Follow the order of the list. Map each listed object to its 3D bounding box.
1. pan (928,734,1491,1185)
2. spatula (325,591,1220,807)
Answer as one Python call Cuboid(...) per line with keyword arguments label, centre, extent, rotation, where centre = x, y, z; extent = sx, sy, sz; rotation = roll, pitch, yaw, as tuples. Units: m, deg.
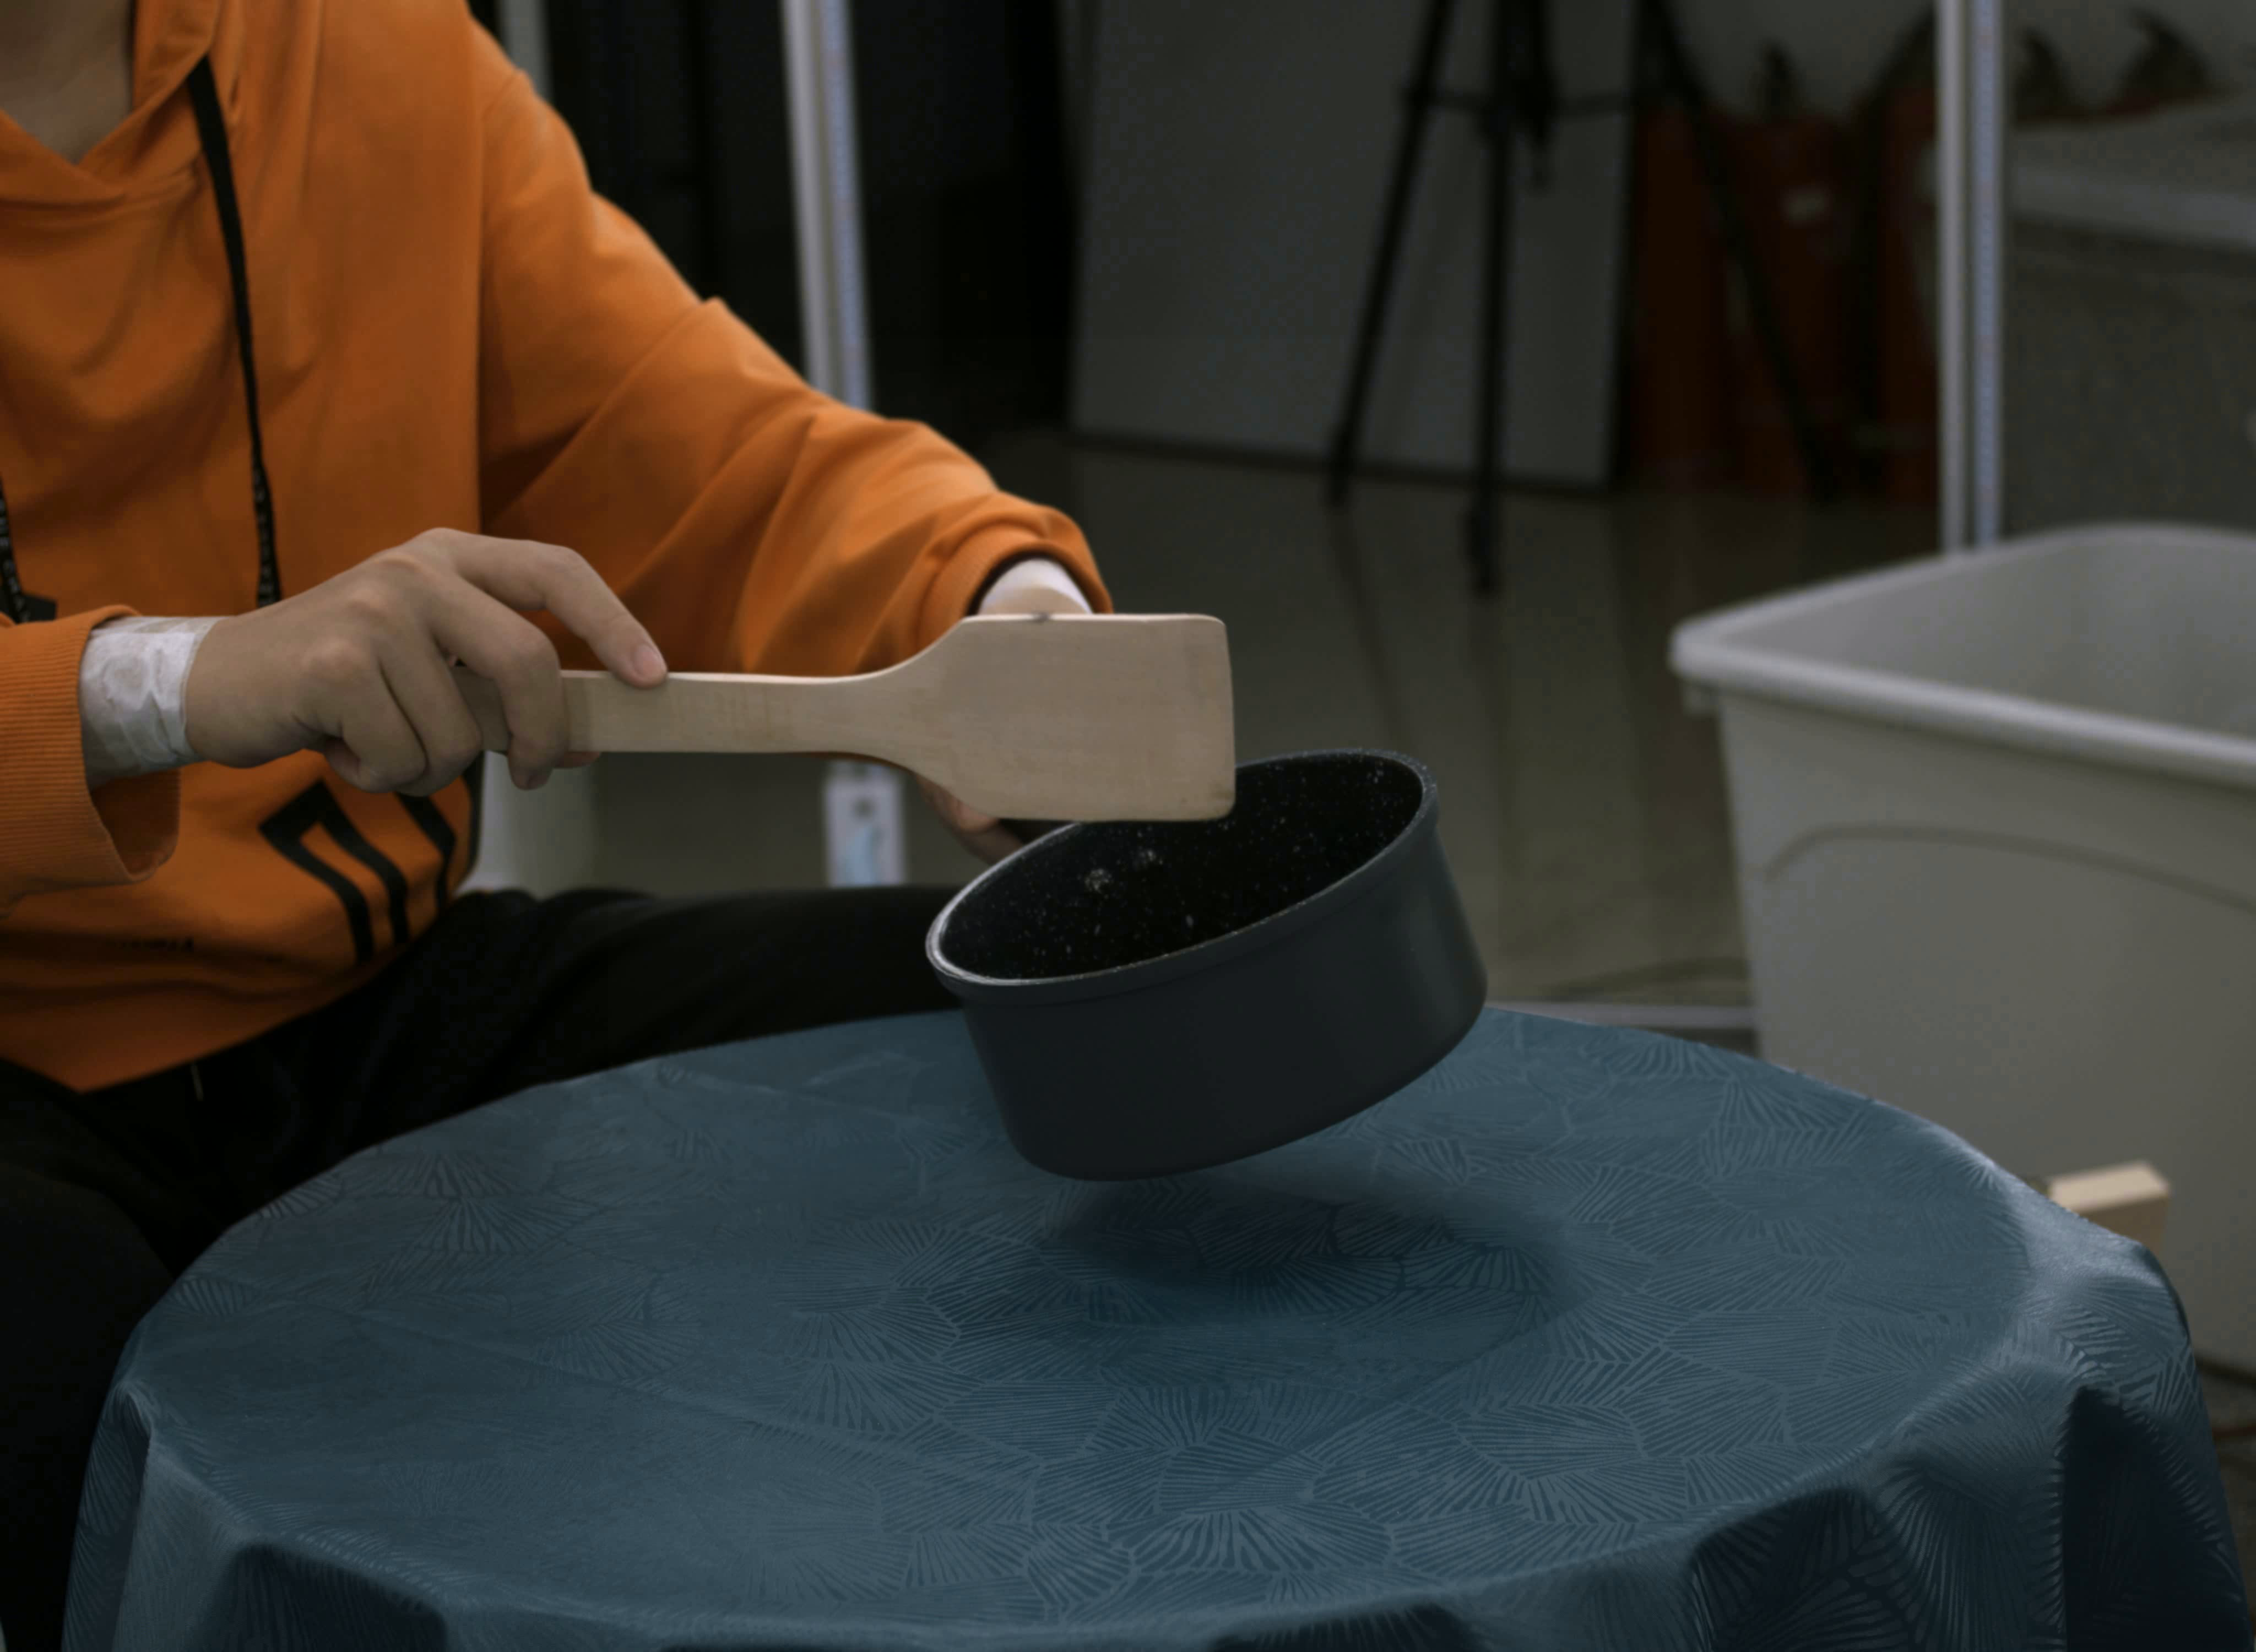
Cuboid(label="pan", centre=(0.006, 0.024, 1.784), extent=(0.169, 0.087, 0.331), rotation=(-22, 18, -10))
Cuboid(label="spatula", centre=(-0.115, -0.039, 1.711), extent=(0.291, 0.073, 0.010), rotation=(0, 26, 12))
